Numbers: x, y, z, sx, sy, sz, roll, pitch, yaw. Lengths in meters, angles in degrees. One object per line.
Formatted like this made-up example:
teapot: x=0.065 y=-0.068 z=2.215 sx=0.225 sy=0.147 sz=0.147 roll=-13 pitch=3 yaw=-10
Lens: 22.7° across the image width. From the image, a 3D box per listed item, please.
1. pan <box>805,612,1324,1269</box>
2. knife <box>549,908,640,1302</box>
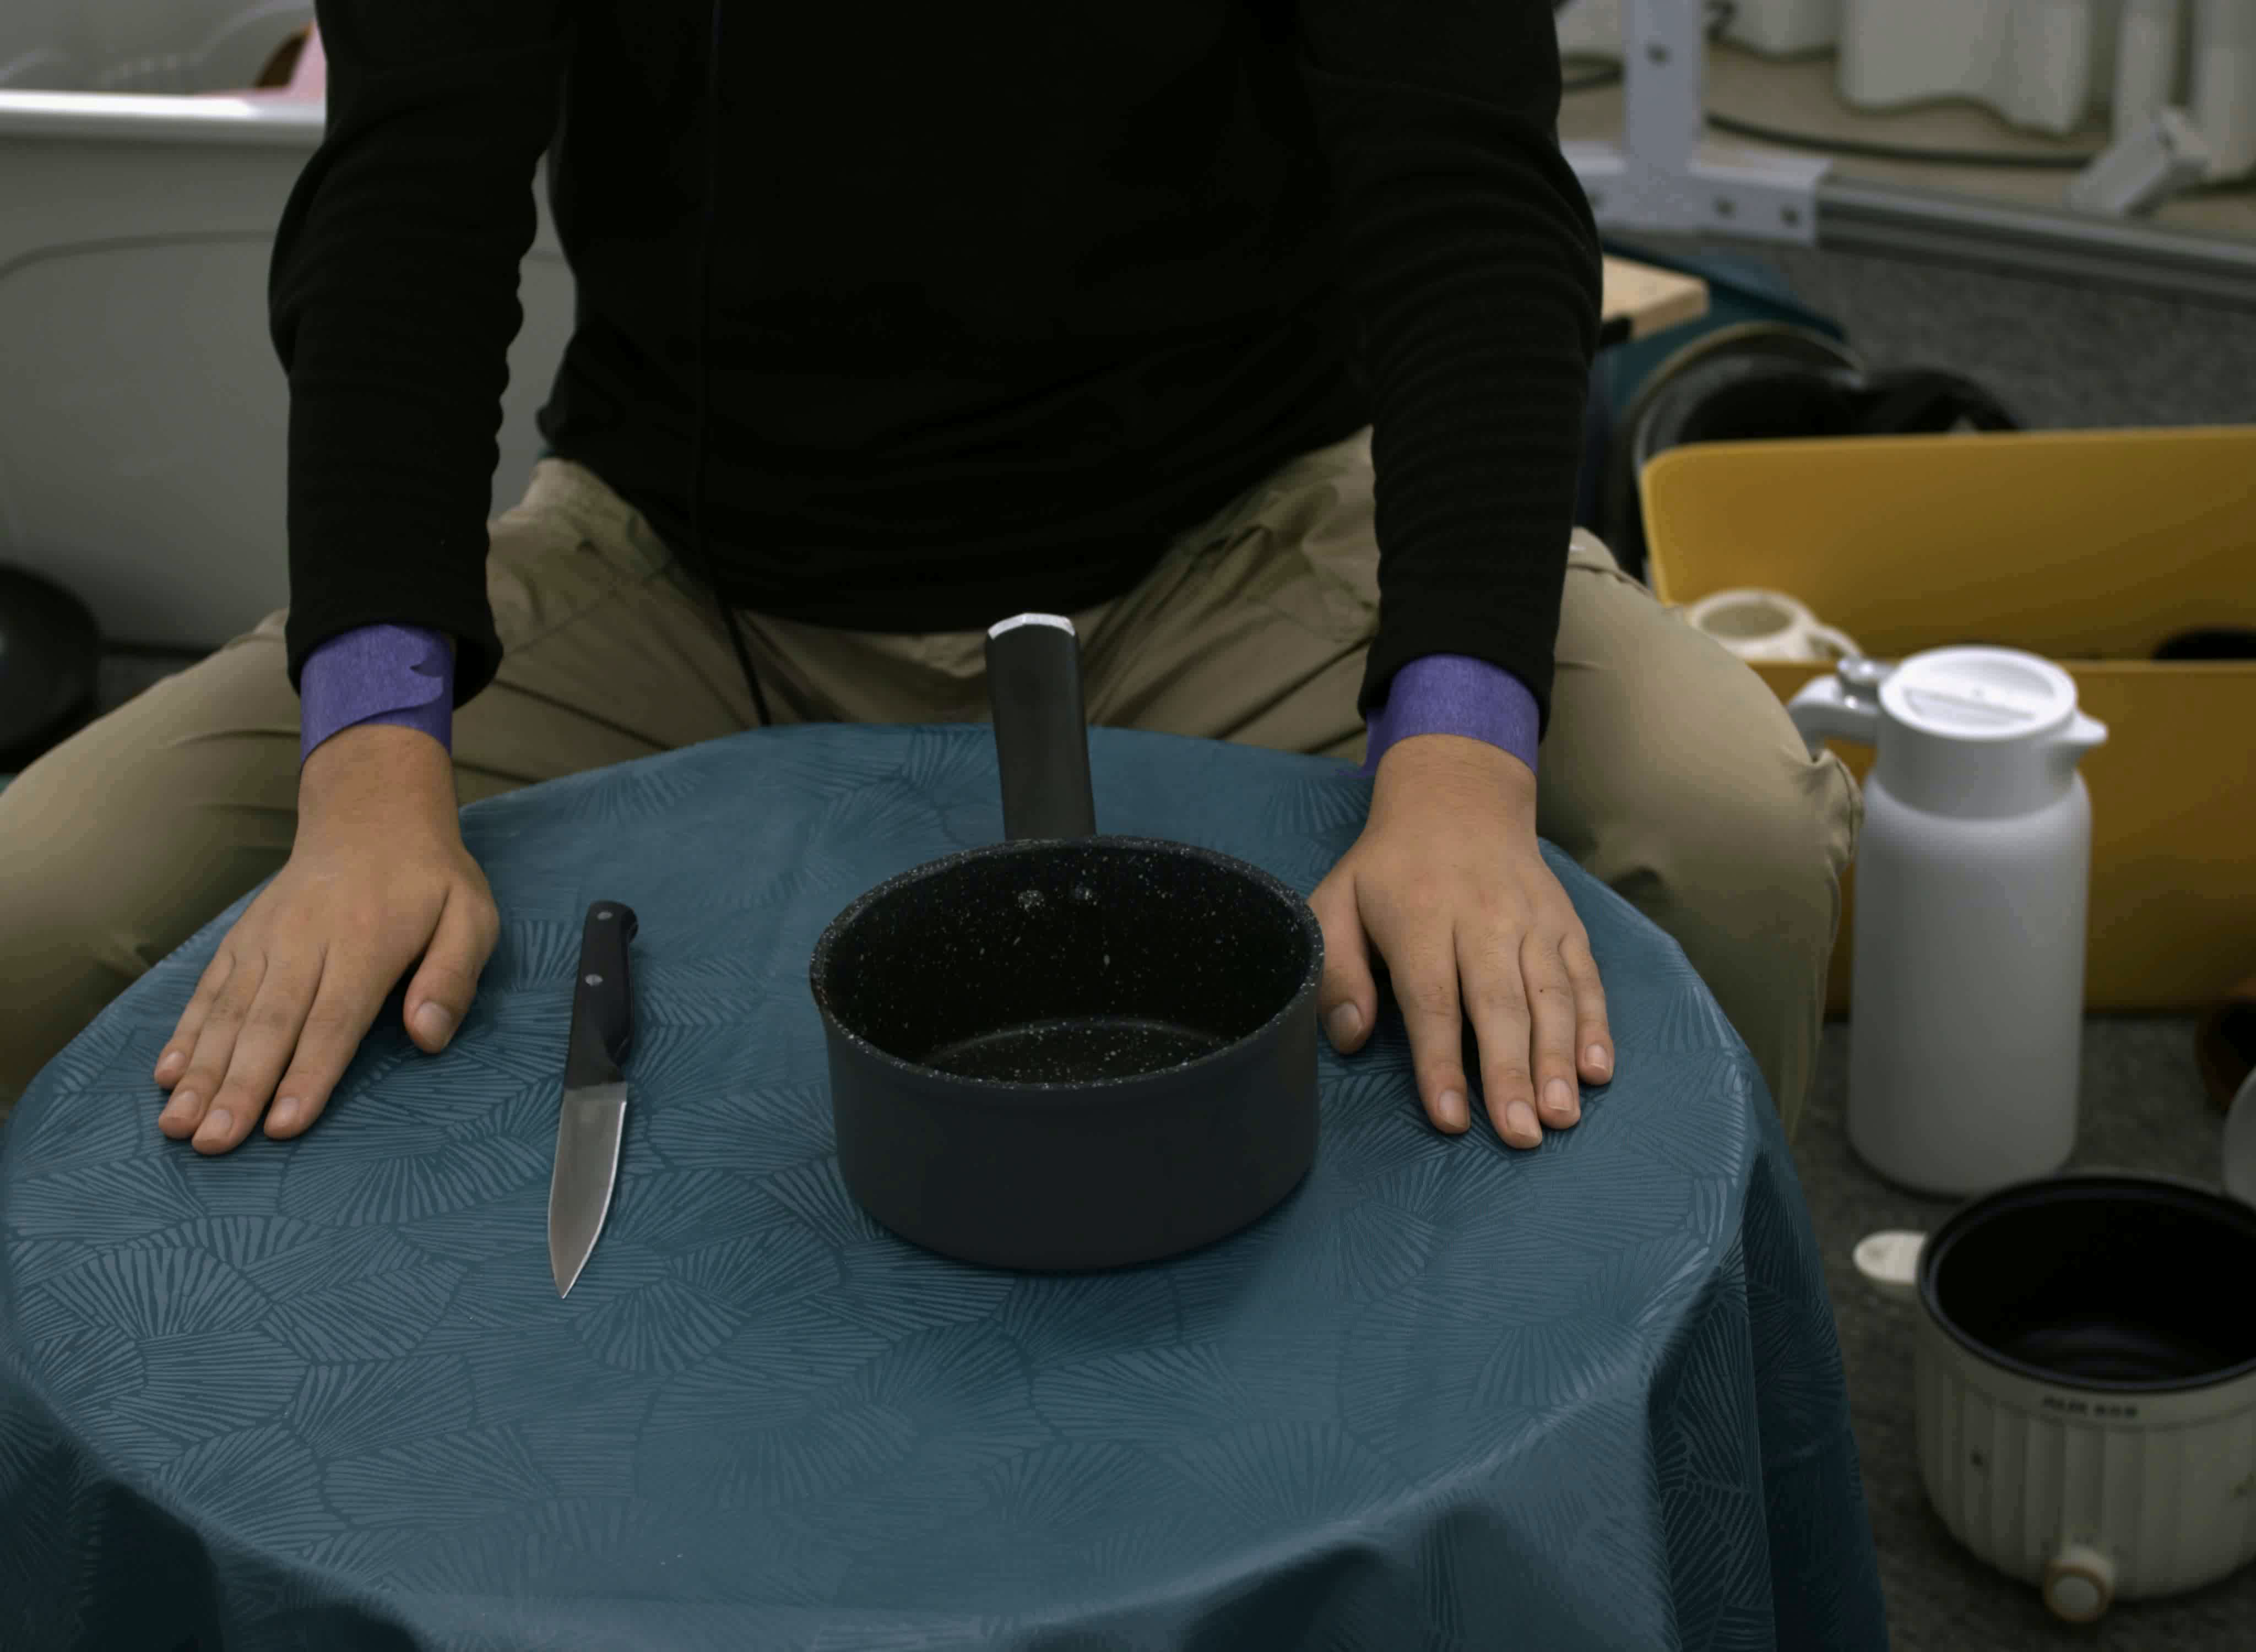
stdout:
pan: x=-0.020 y=0.036 z=1.937 sx=0.171 sy=0.085 sz=0.334 roll=-2 pitch=28 yaw=1
knife: x=-0.184 y=0.094 z=1.919 sx=0.024 sy=0.016 sz=0.242 roll=0 pitch=30 yaw=-1
